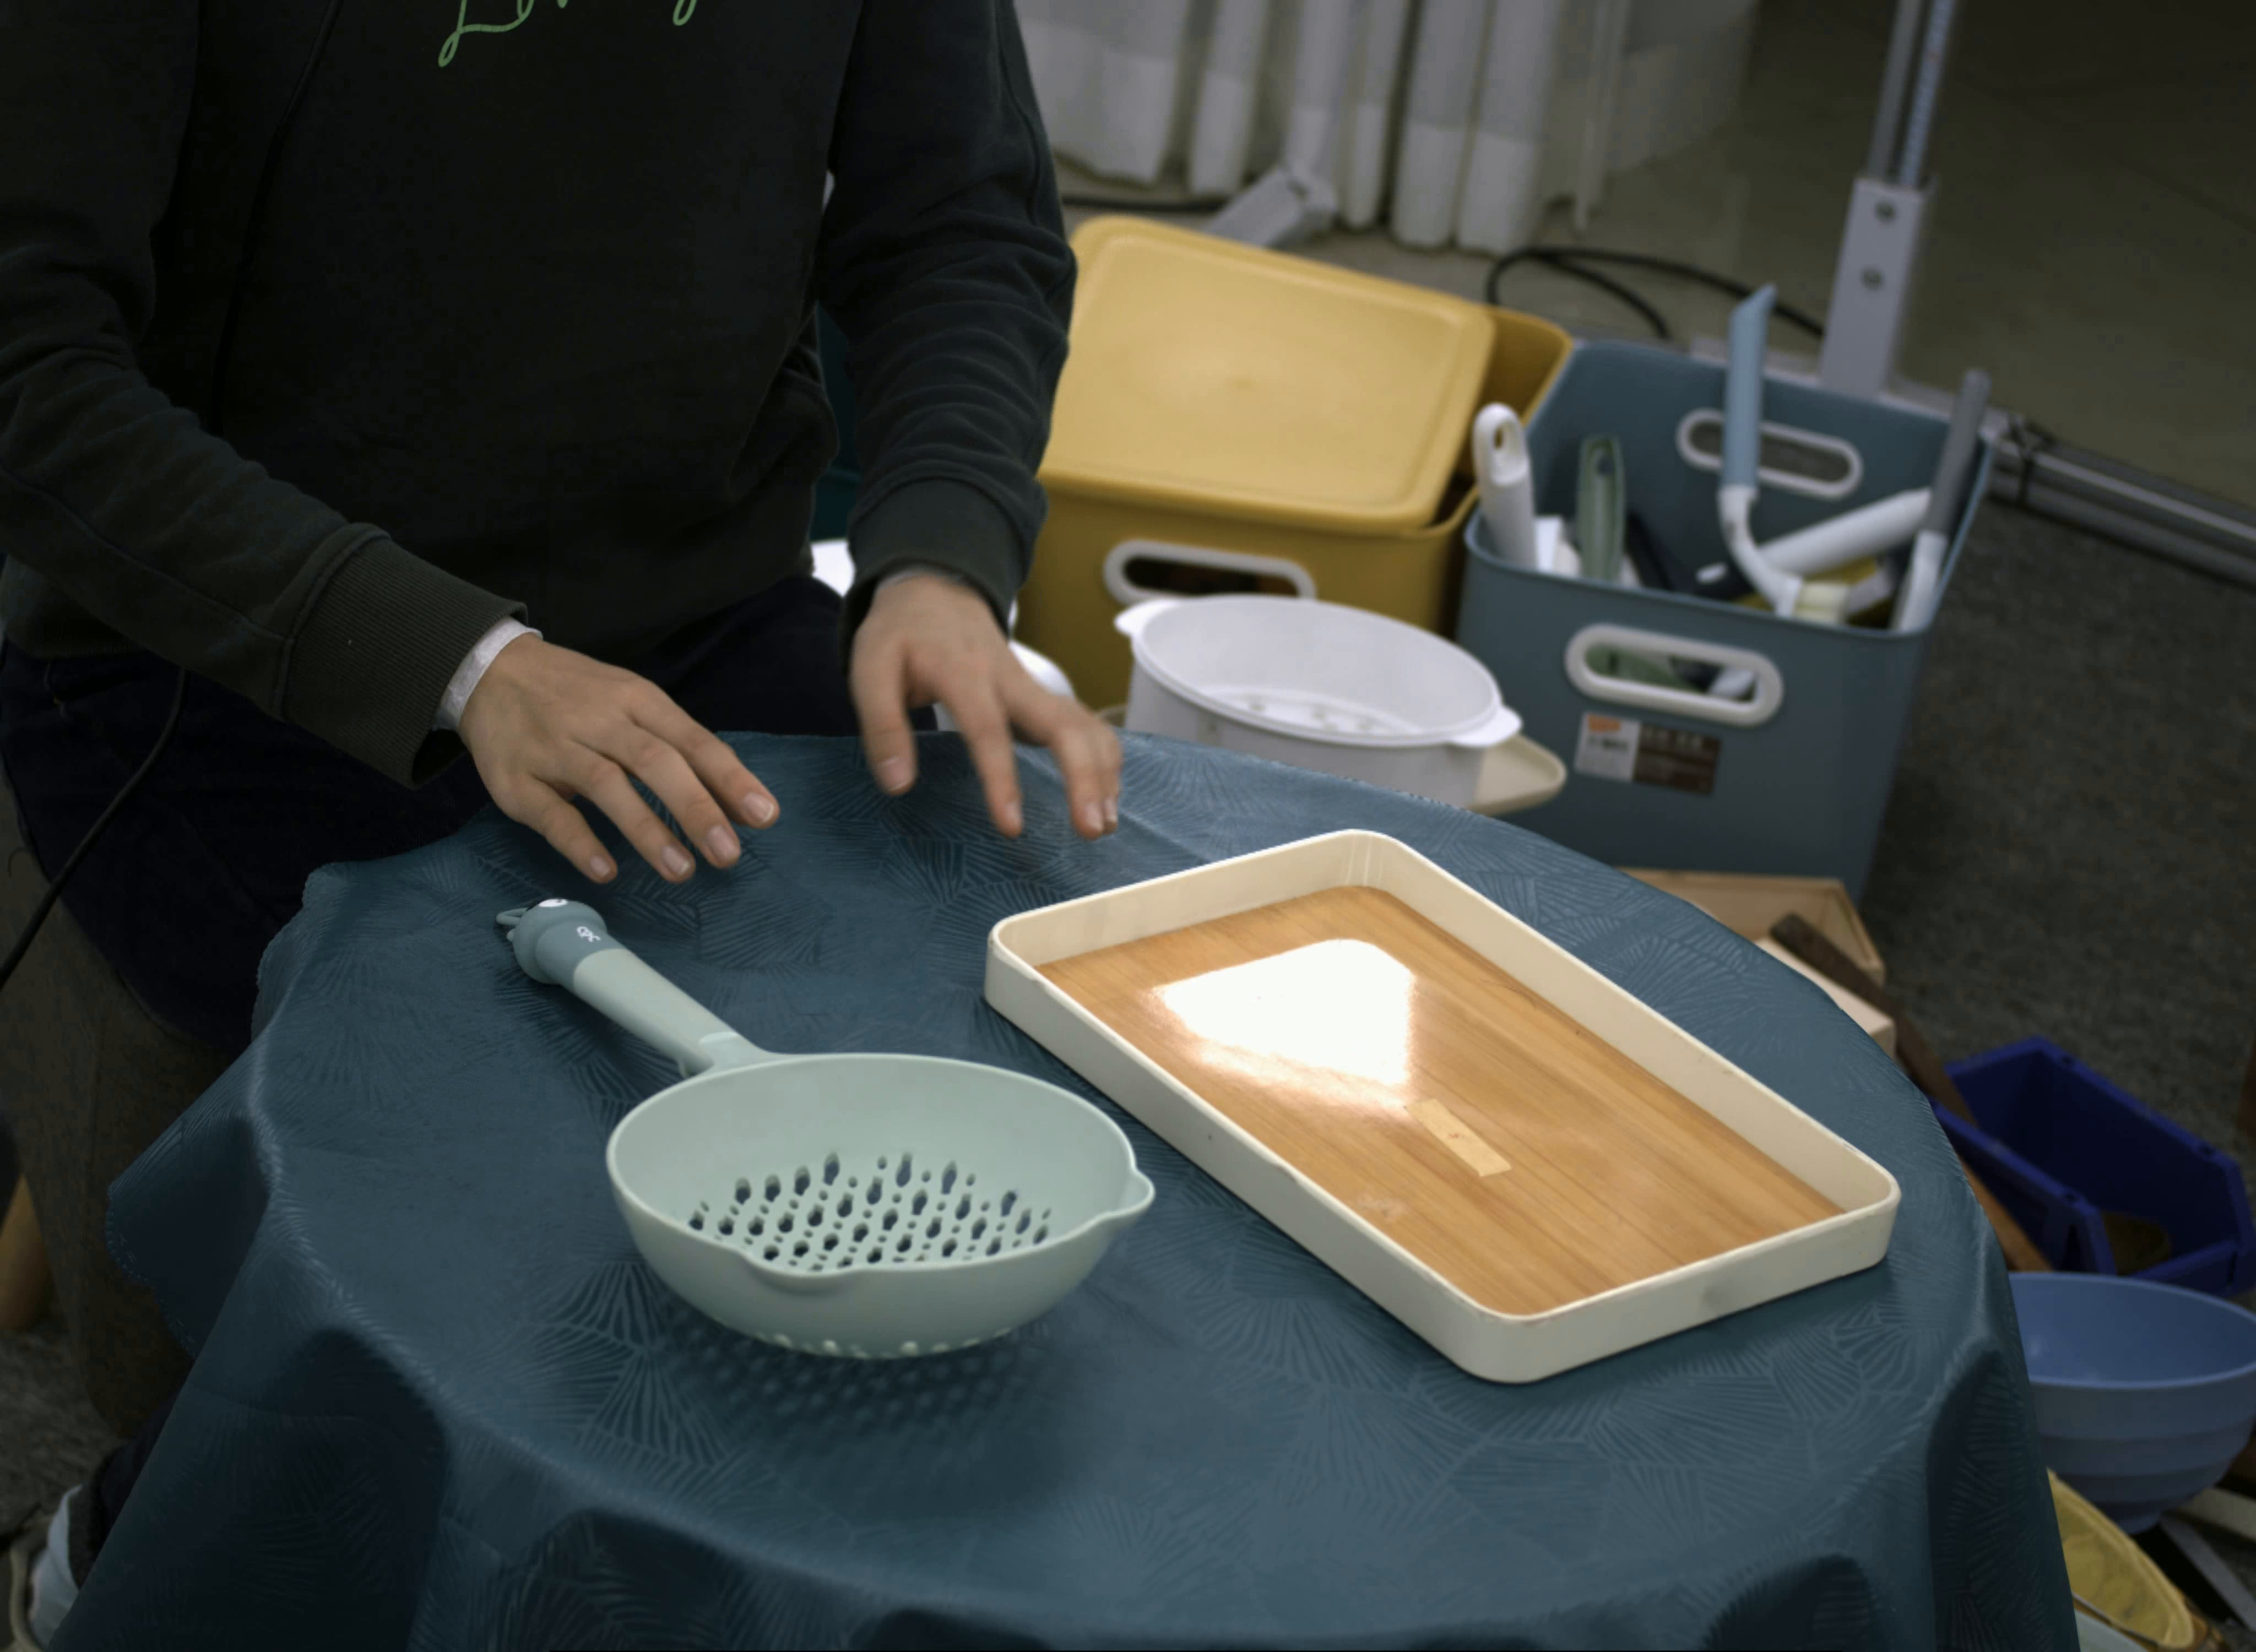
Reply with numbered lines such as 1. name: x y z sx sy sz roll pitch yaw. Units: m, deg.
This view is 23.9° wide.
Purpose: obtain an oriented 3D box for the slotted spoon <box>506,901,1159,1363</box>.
1. slotted spoon: -0.130 0.086 1.774 0.168 0.075 0.362 -9 30 -29

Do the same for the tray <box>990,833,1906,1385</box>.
1. tray: 0.107 0.092 1.857 0.190 0.027 0.303 -13 33 -34
